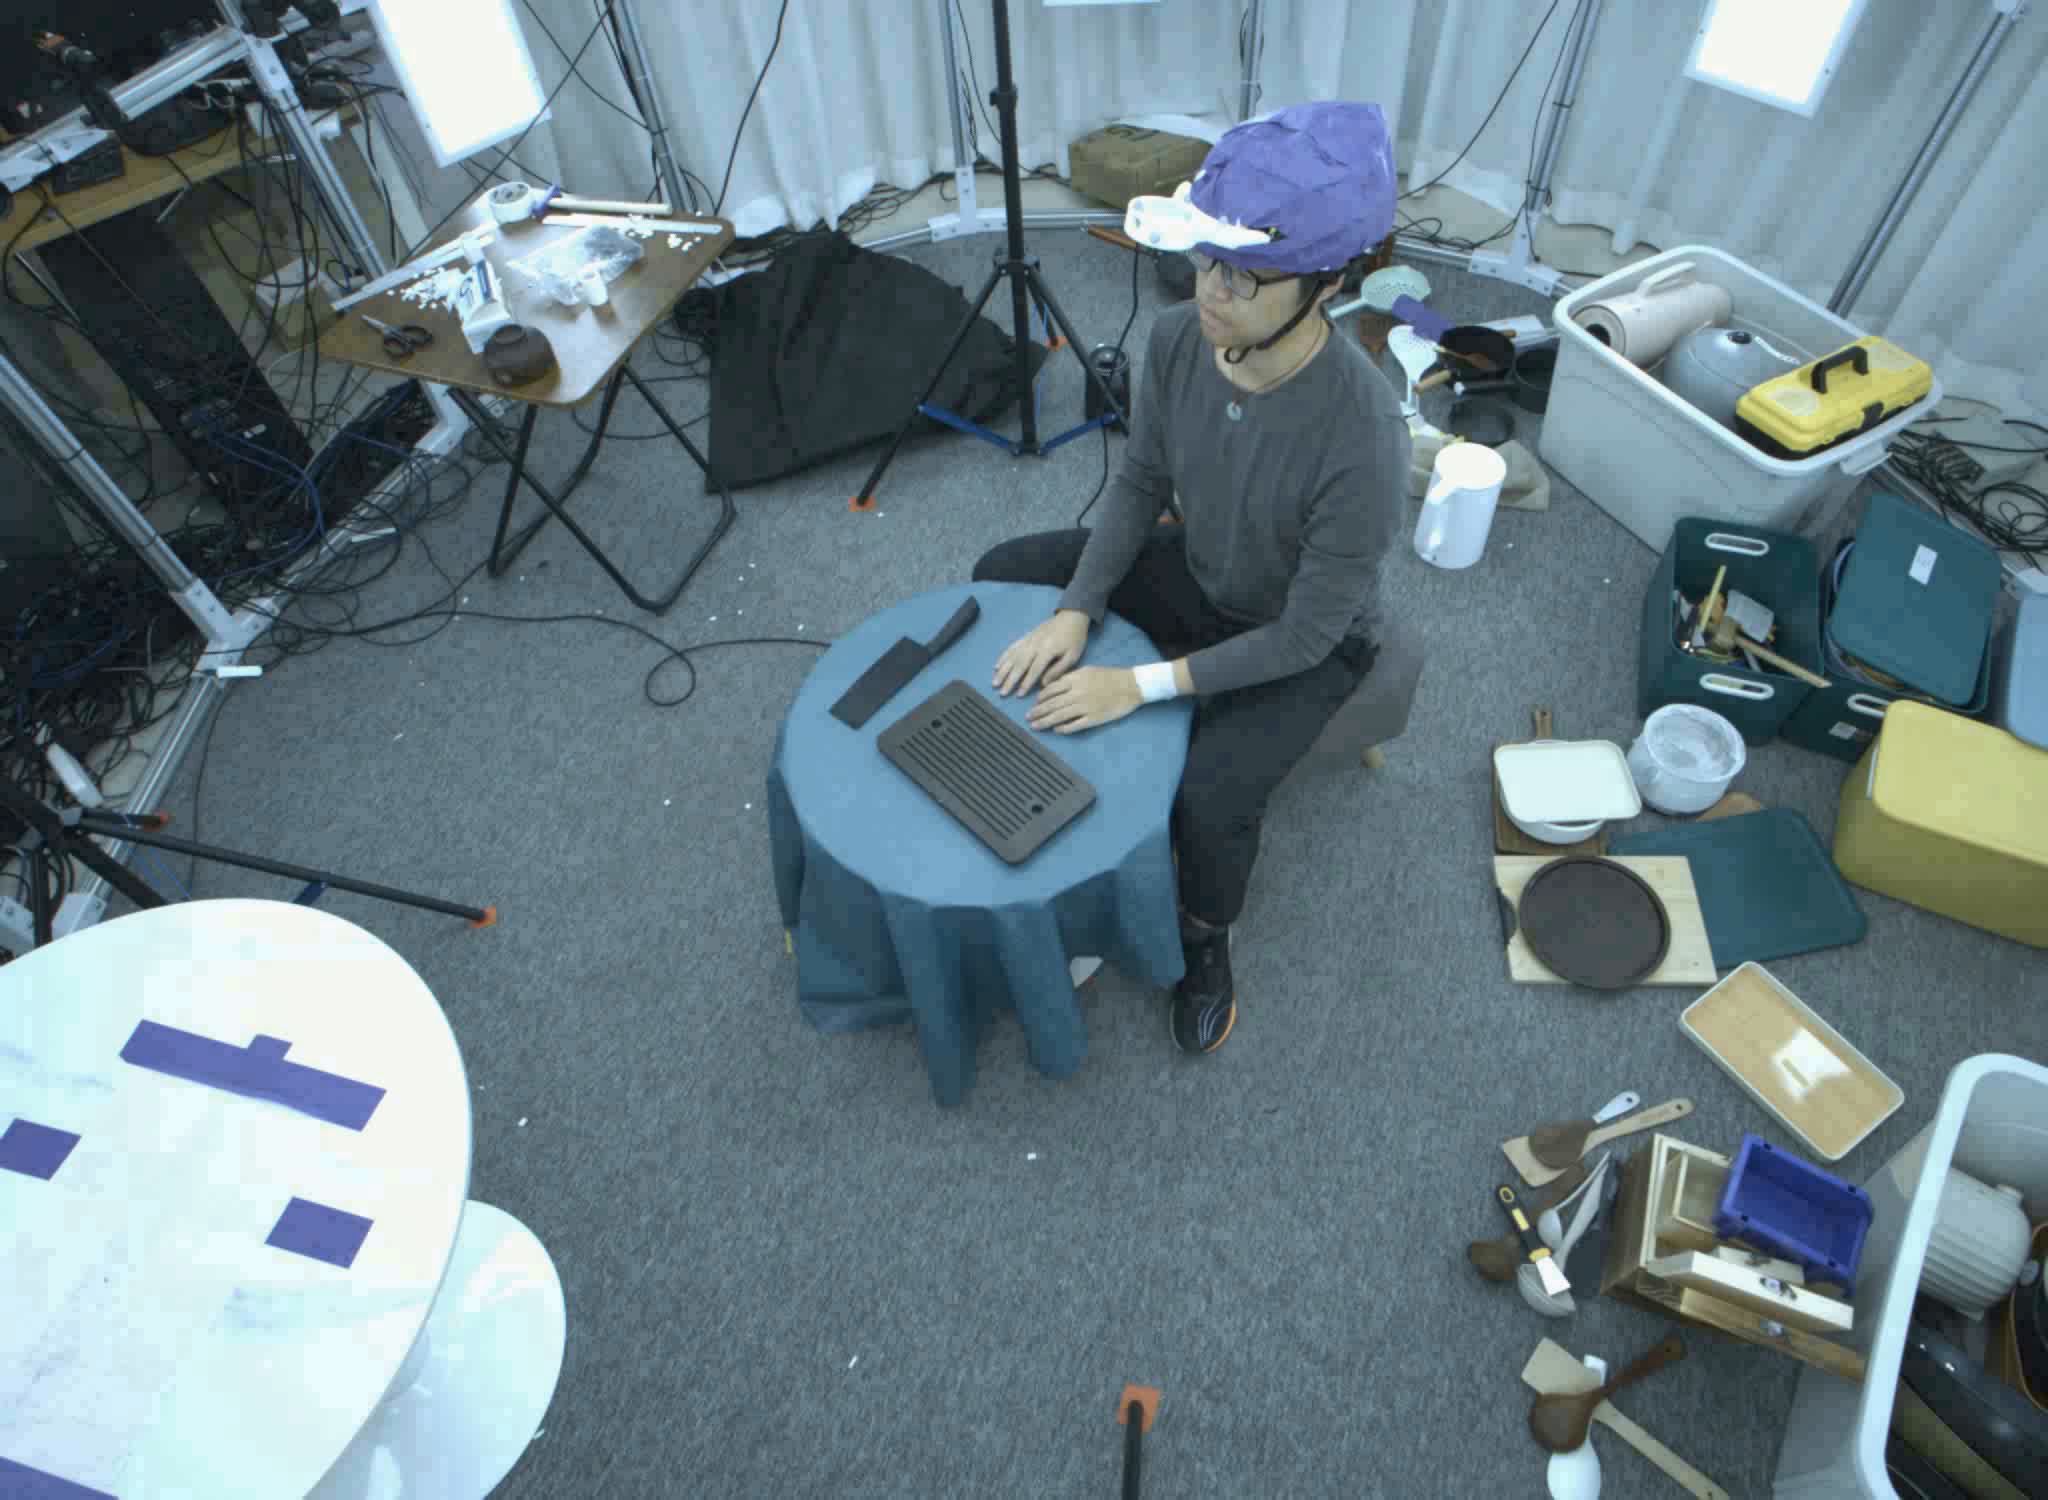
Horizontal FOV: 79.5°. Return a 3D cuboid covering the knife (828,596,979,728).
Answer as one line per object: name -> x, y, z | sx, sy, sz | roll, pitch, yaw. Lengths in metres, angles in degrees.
knife -> -0.179, -0.143, 1.894 | 0.079, 0.021, 0.304 | 36, 64, 25

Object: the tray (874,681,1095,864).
tray -> -0.059, 0.028, 1.766 | 0.171, 0.019, 0.300 | -38, 62, -23
